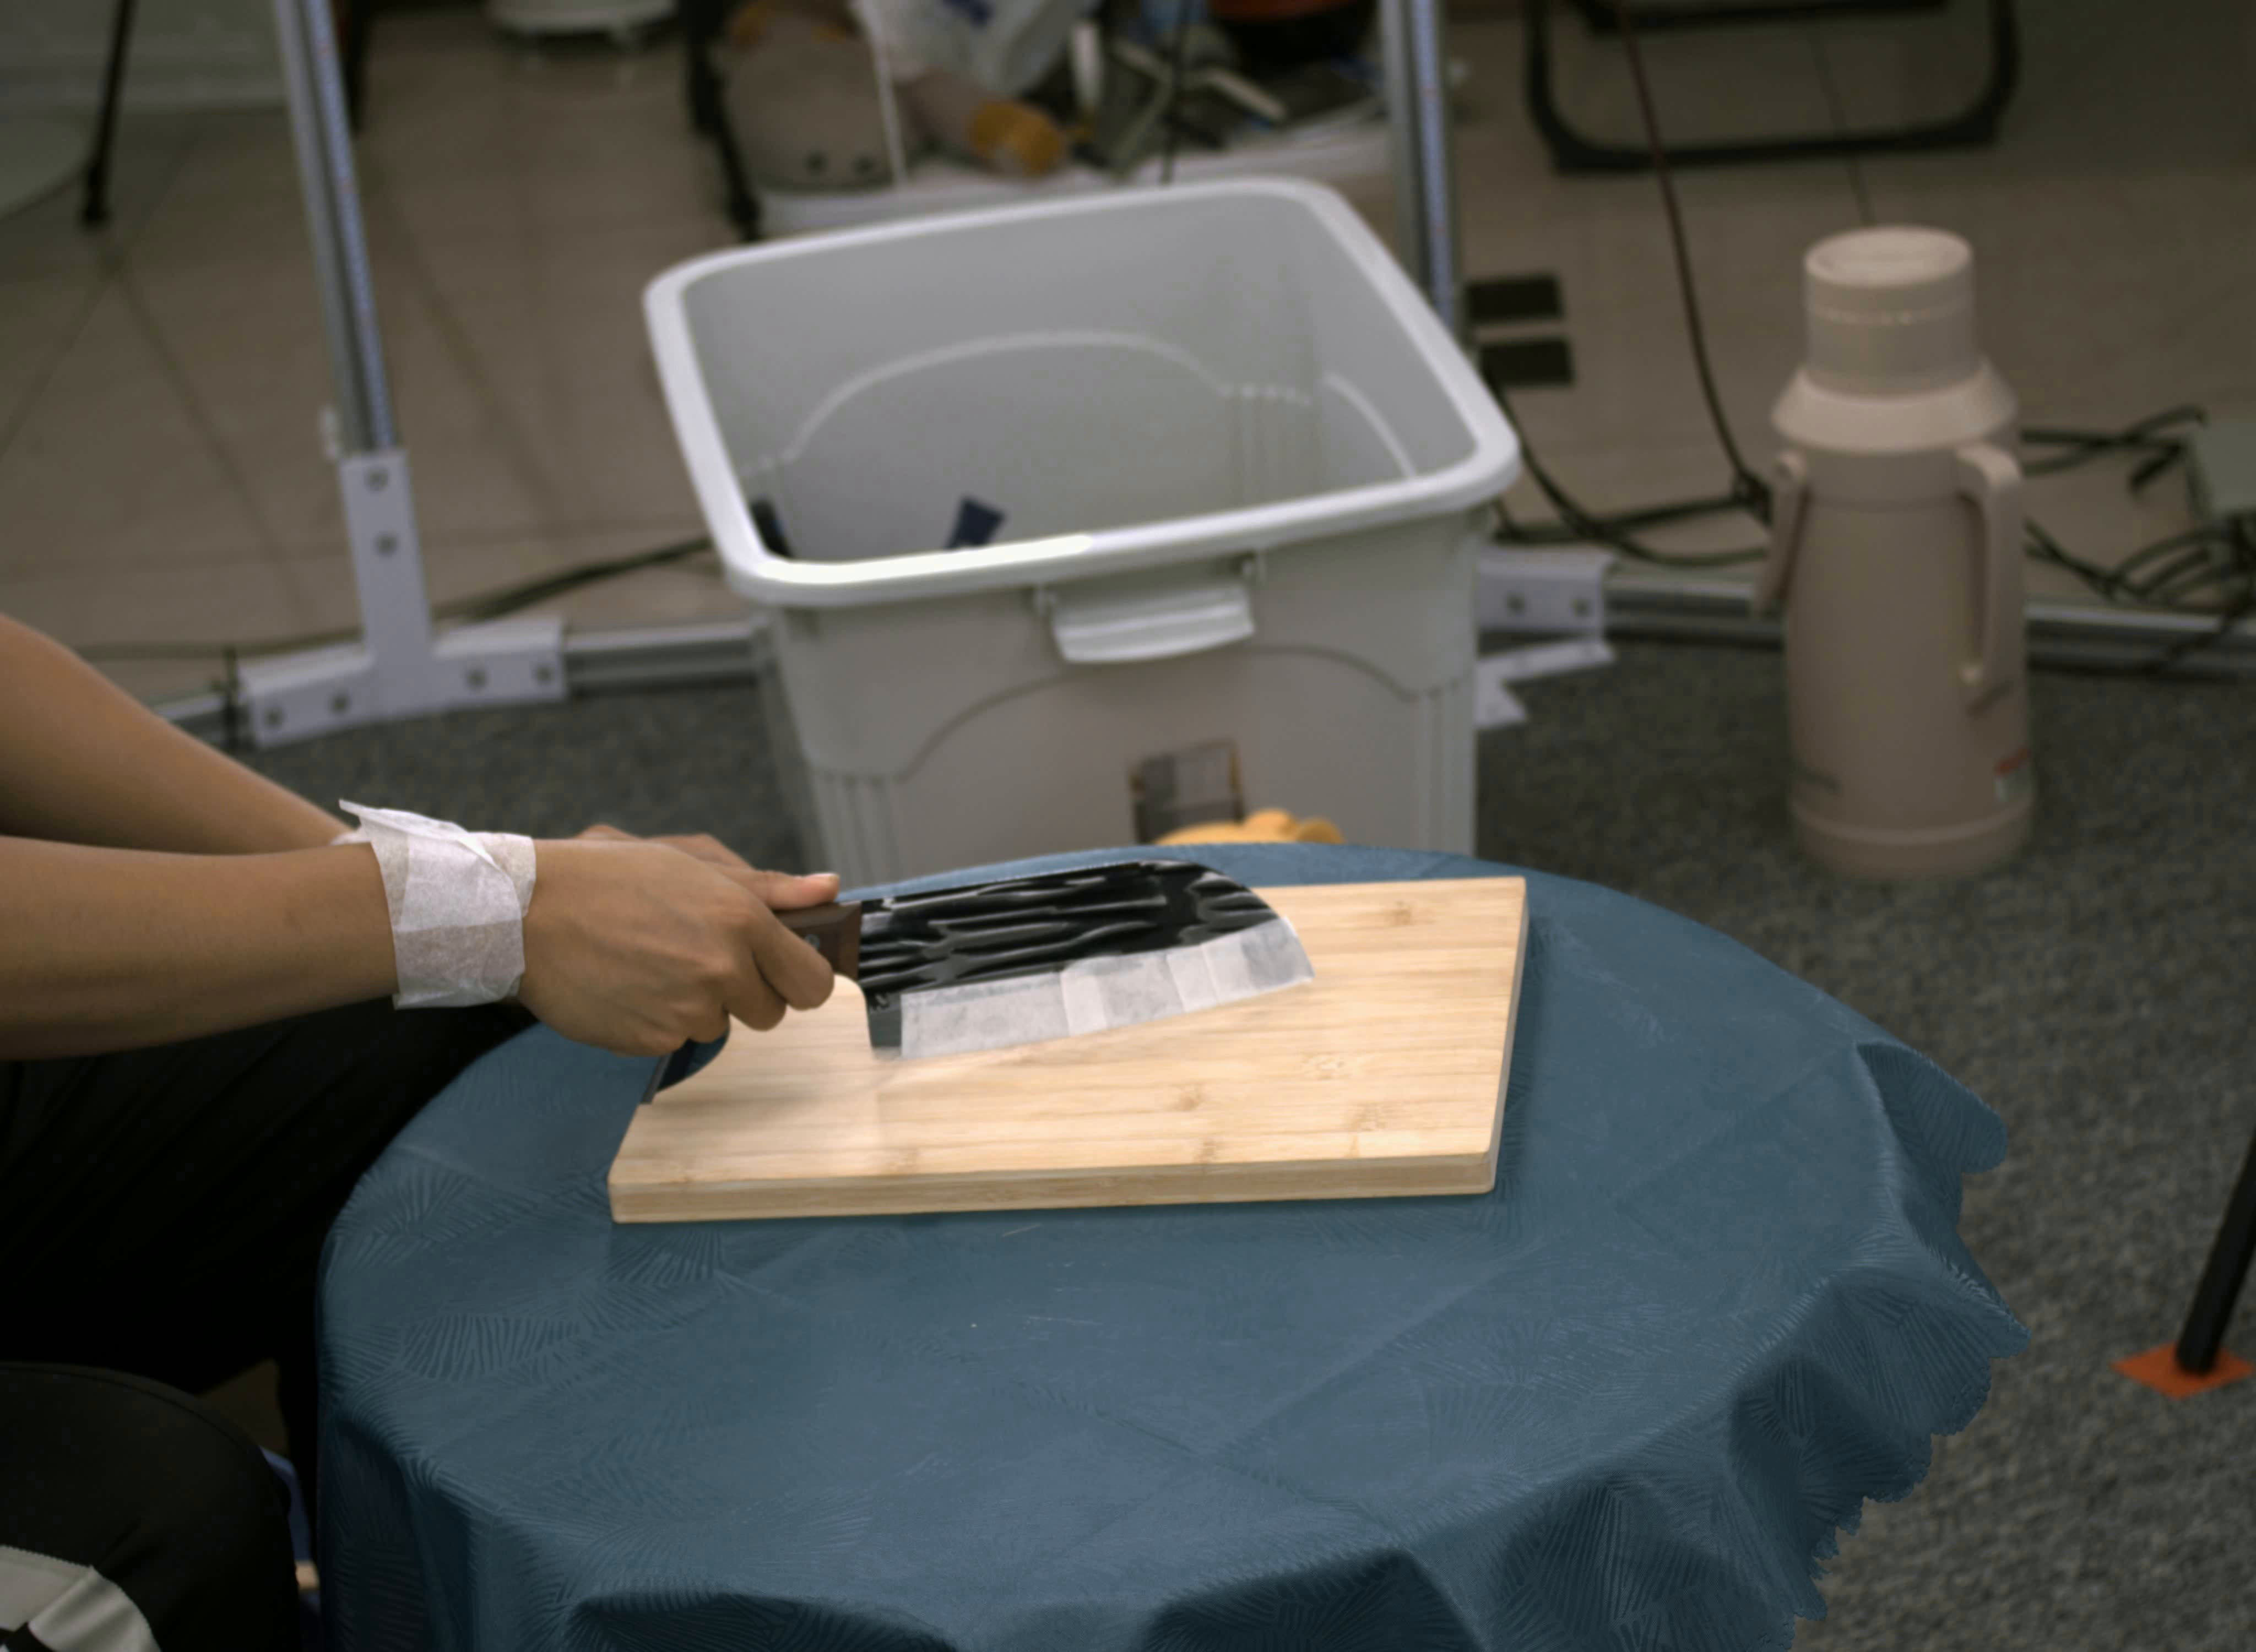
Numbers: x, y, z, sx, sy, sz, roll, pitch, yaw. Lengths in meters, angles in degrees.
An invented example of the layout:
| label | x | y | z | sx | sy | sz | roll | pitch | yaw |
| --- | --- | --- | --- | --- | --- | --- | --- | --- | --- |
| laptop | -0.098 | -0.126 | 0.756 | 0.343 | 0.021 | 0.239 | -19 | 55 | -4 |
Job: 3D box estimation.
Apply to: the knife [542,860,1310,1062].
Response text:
| label | x | y | z | sx | sy | sz | roll | pitch | yaw |
| --- | --- | --- | --- | --- | --- | --- | --- | --- | --- |
| knife | -0.077 | 0.057 | 2.215 | 0.299 | 0.069 | 0.024 | -7 | 13 | -8 |

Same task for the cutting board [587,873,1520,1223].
| label | x | y | z | sx | sy | sz | roll | pitch | yaw |
| --- | --- | --- | --- | --- | --- | --- | --- | --- | --- |
| cutting board | -0.023 | 0.087 | 2.250 | 0.348 | 0.024 | 0.247 | -3 | 25 | 8 |
